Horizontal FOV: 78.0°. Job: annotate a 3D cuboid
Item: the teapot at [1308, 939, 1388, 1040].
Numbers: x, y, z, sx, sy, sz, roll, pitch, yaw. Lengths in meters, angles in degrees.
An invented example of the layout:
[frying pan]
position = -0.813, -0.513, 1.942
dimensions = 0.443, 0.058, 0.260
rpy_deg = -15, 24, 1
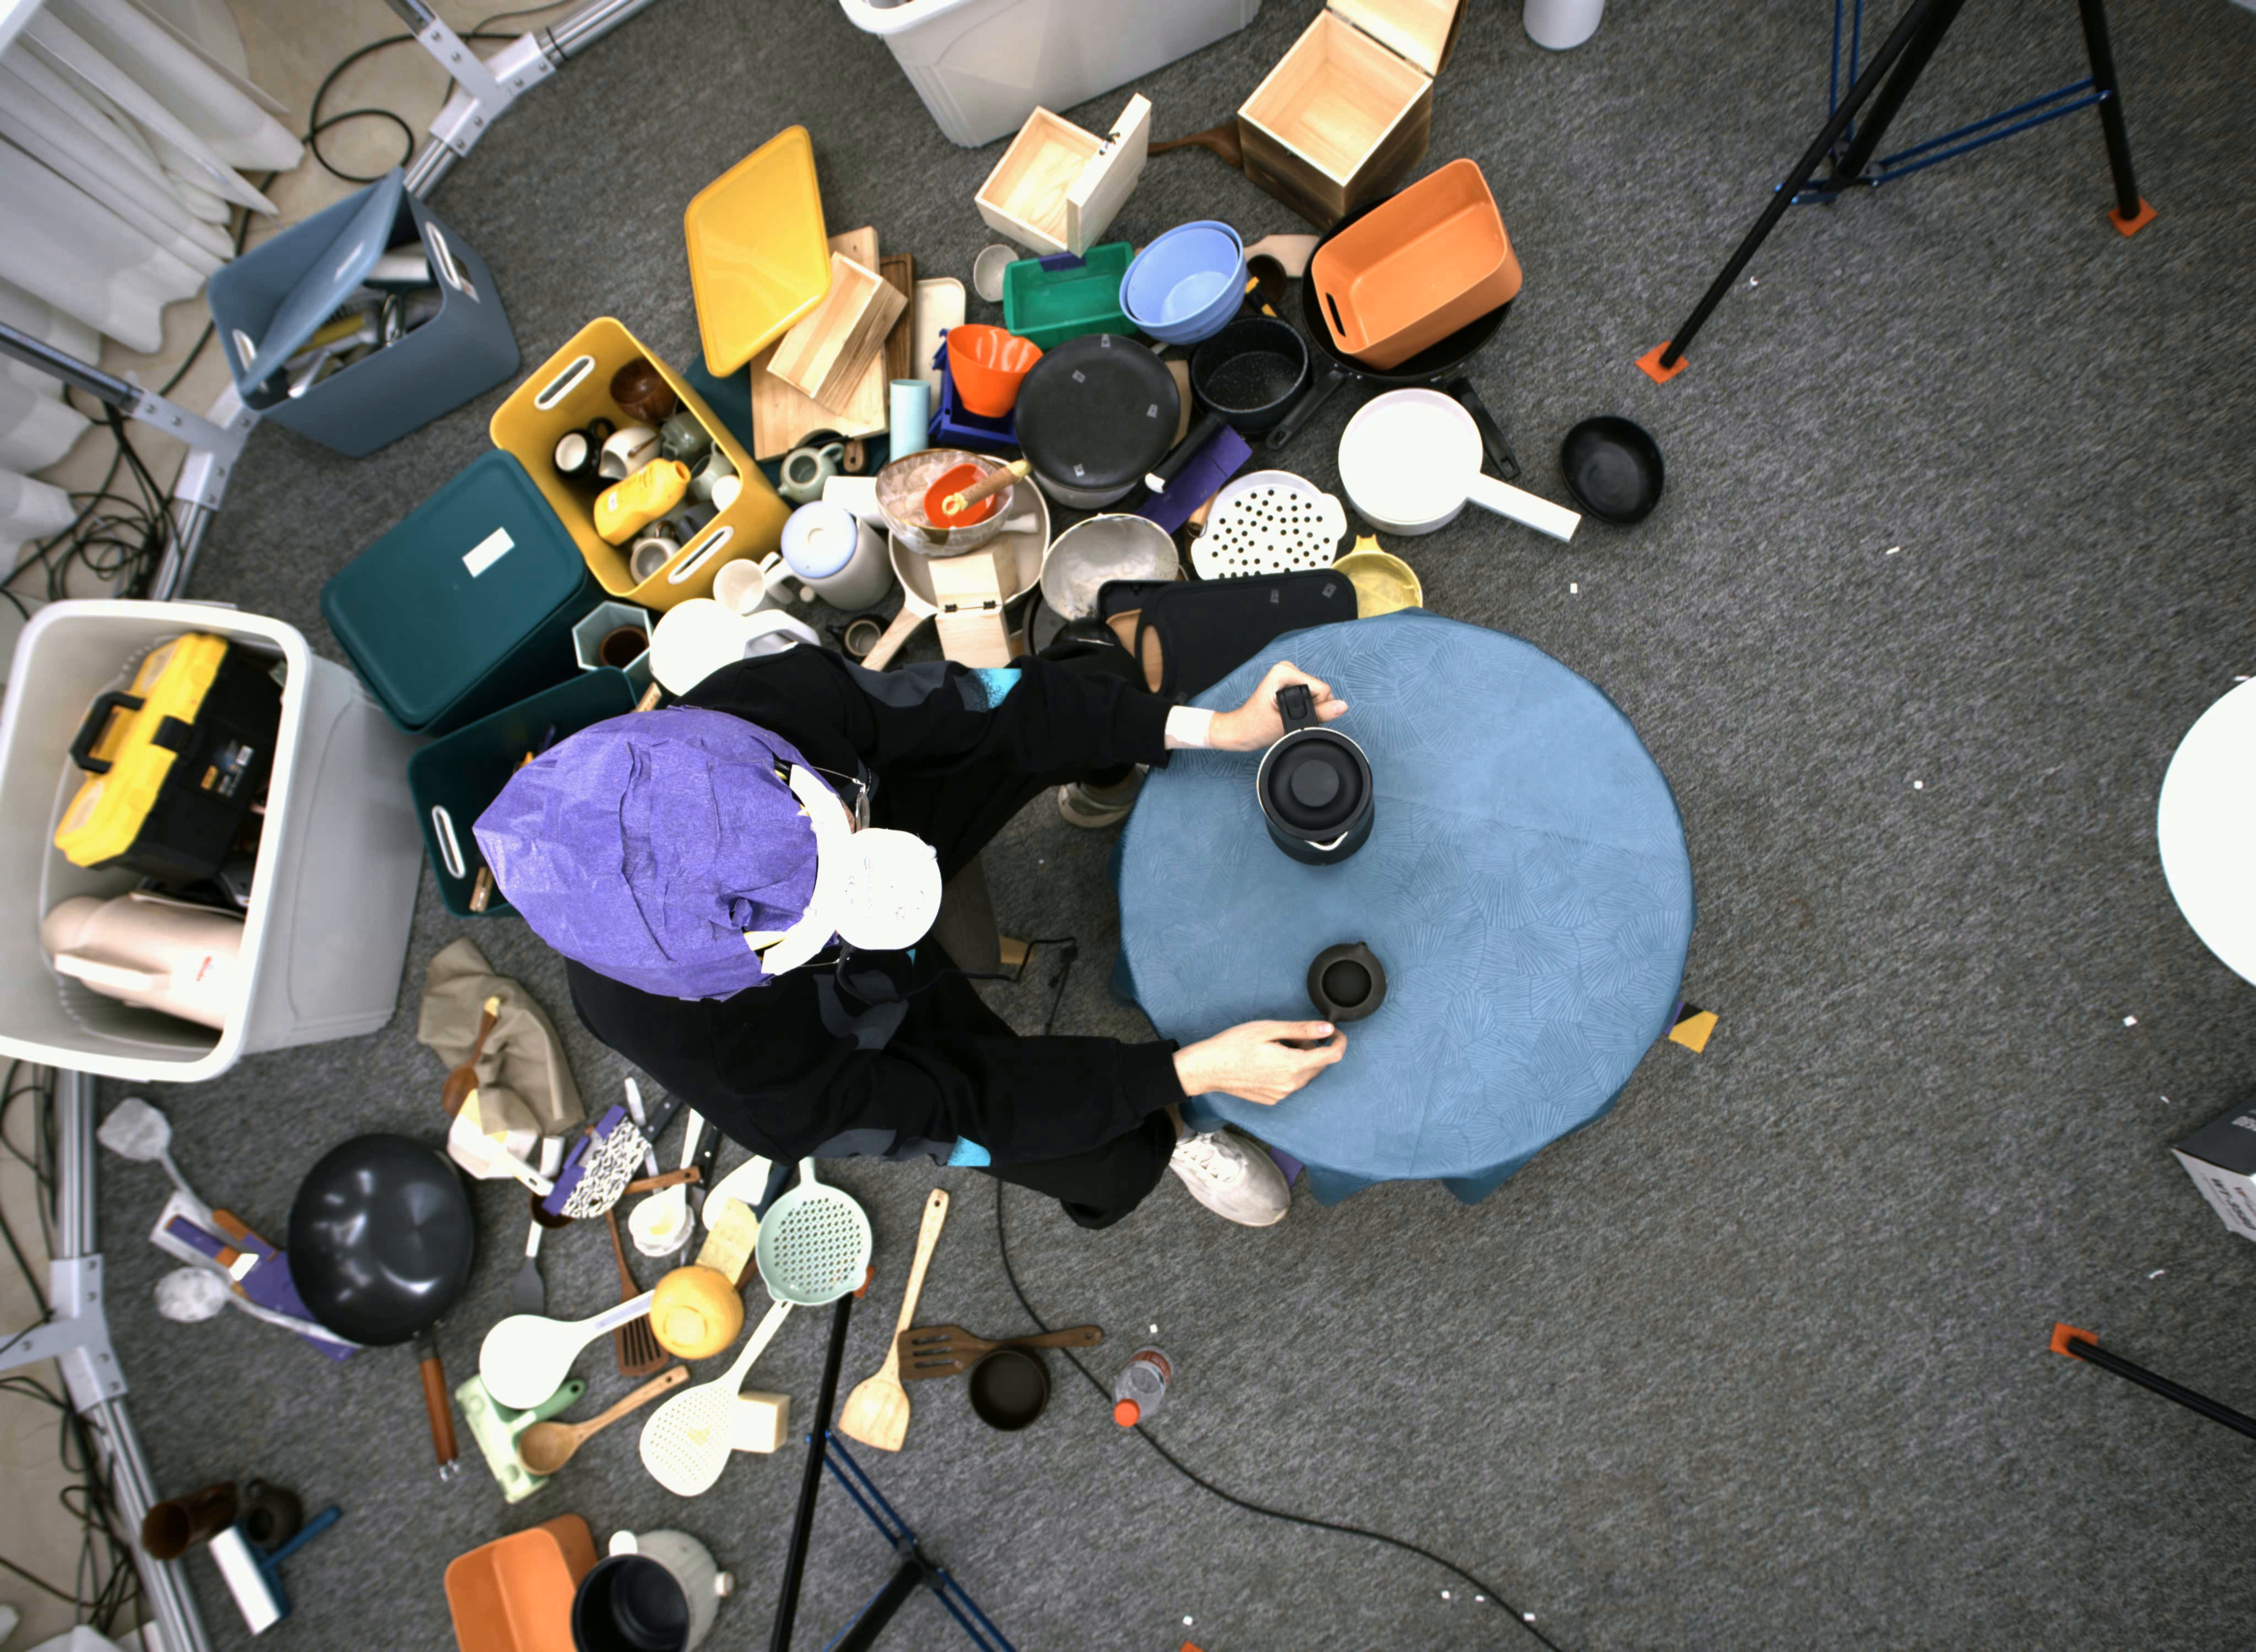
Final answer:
[teapot]
position = 0.222, 0.169, 1.434
dimensions = 0.083, 0.053, 0.114
rpy_deg = 28, 89, 12

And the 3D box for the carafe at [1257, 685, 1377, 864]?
[carafe]
position = 0.180, -0.050, 1.355
dimensions = 0.115, 0.173, 0.170
rpy_deg = -14, 82, 9
